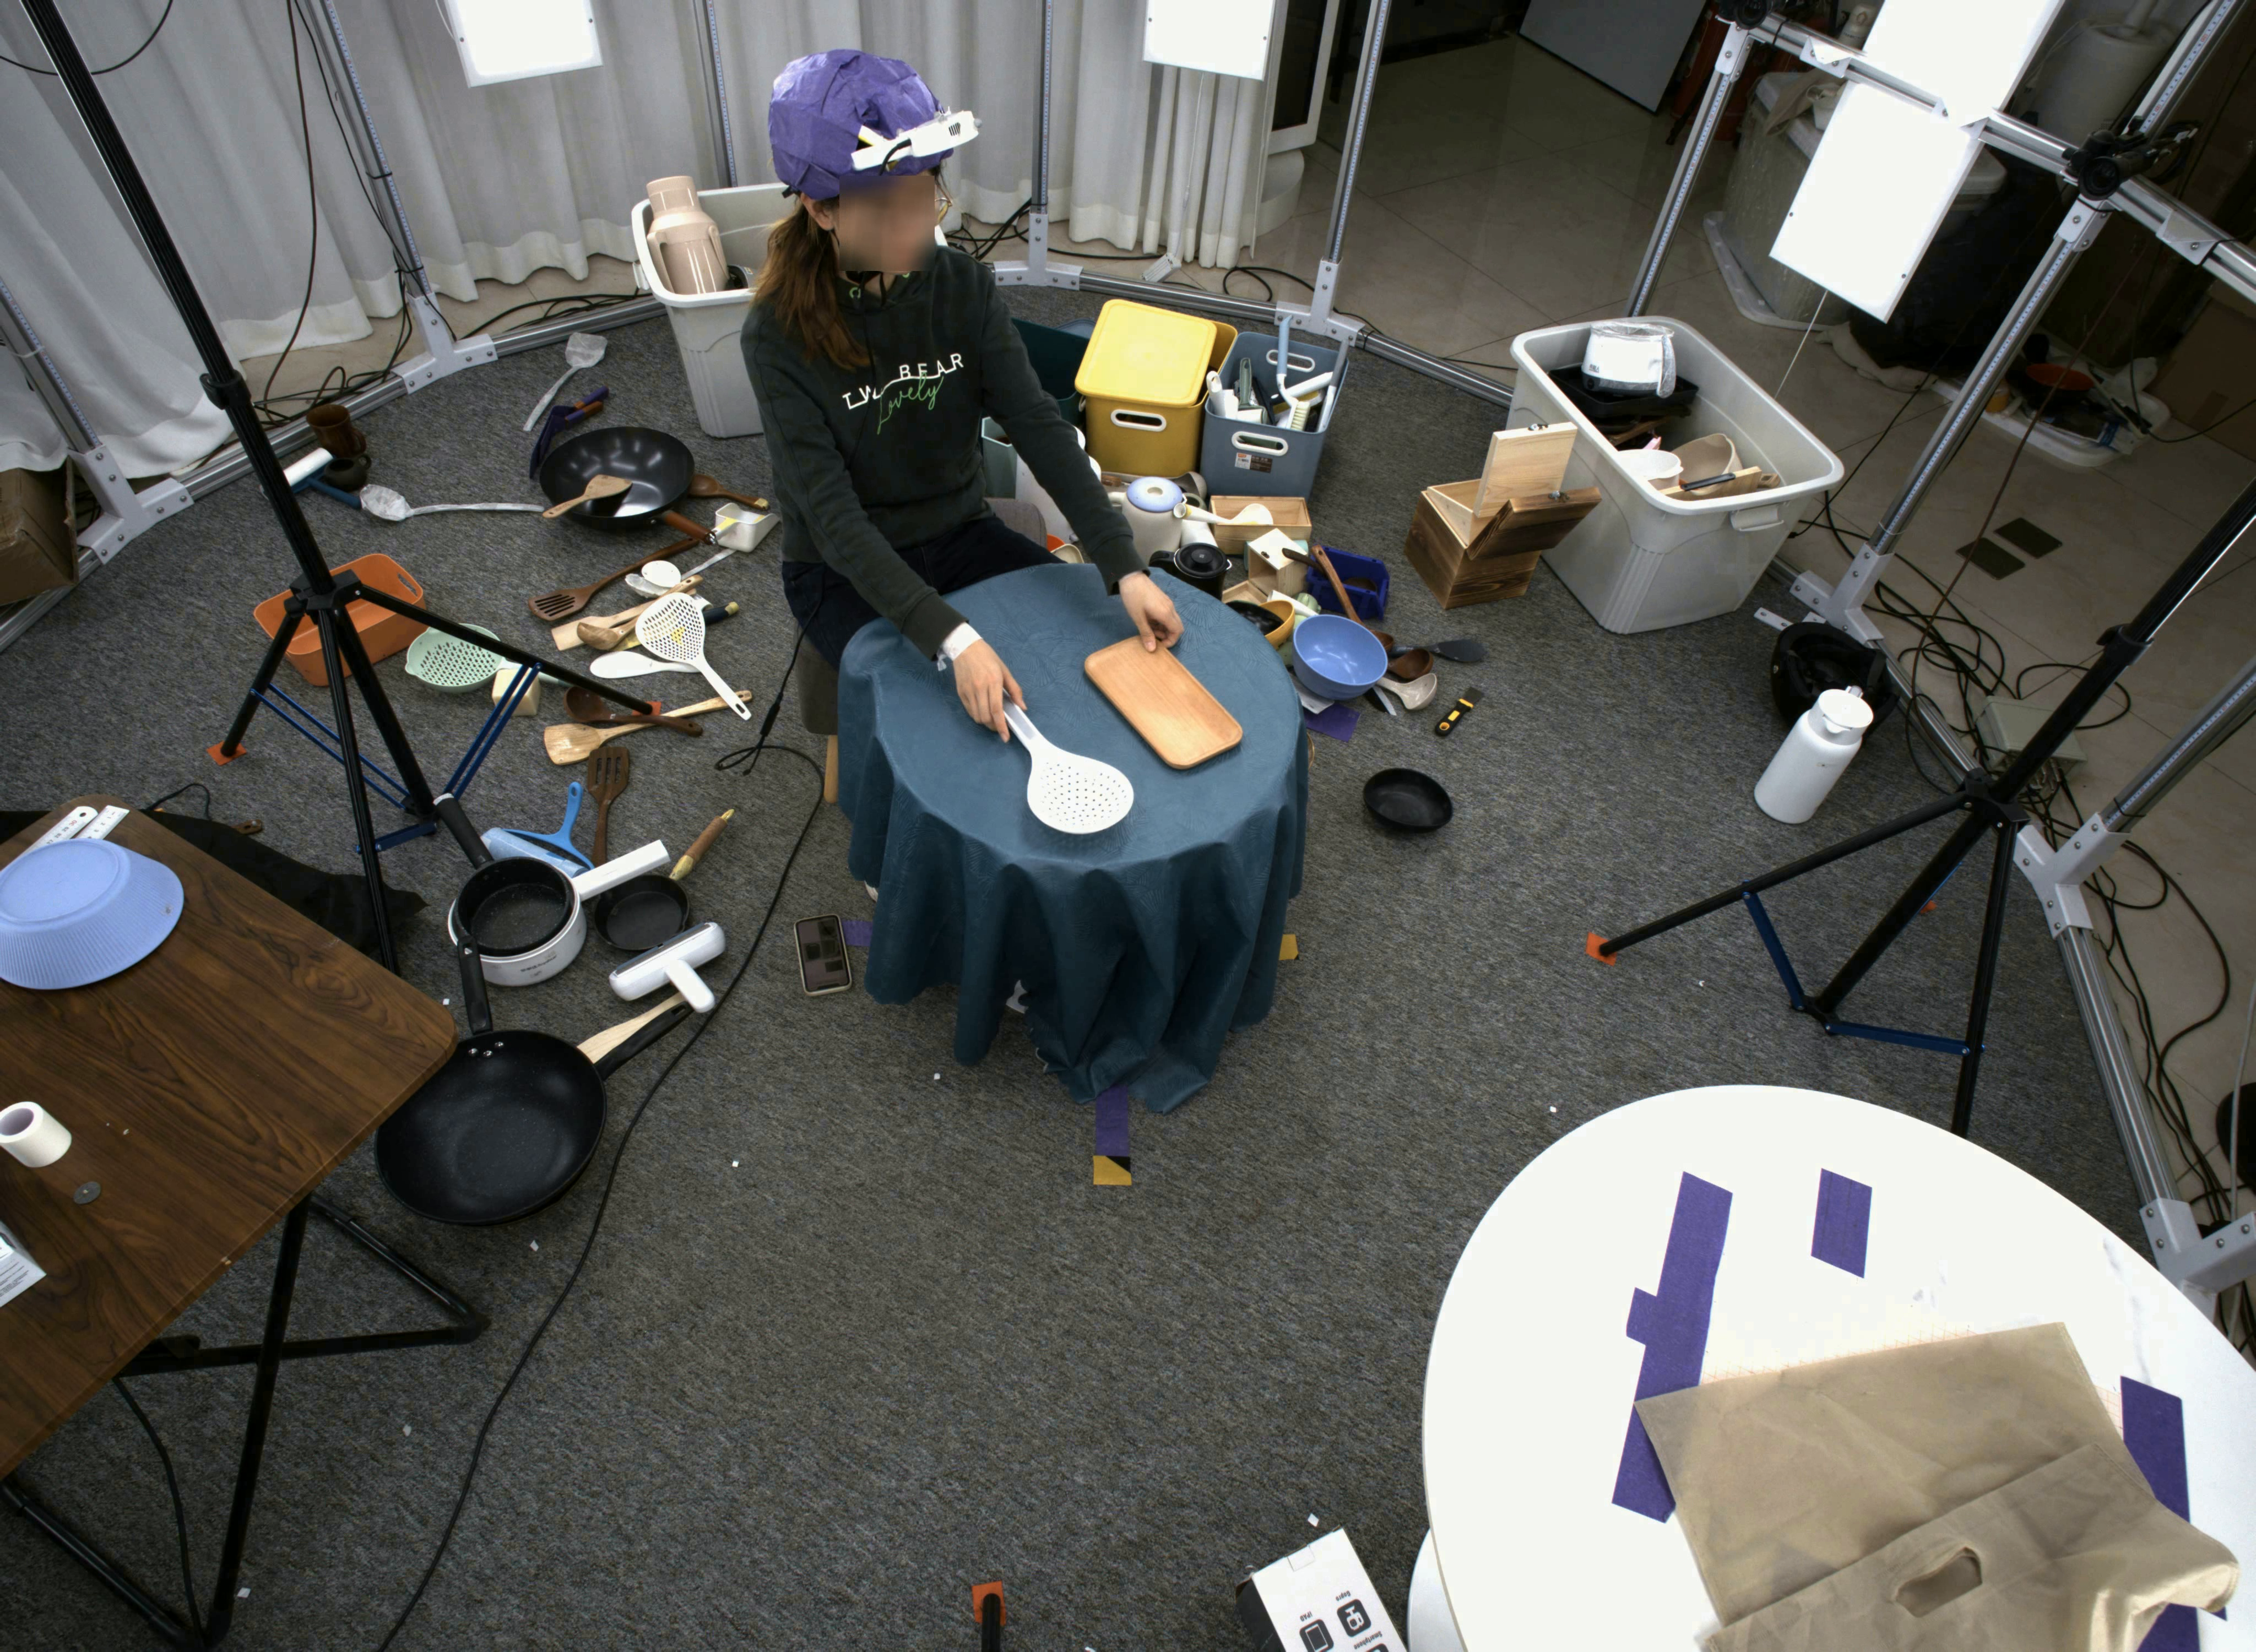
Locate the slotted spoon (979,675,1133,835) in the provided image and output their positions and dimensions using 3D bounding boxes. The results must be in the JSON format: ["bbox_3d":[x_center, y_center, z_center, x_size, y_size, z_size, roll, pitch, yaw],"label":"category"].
[{"bbox_3d":[-0.116,-0.101,1.735,0.136,0.044,0.357,-20,52,-23],"label":"slotted spoon"}]

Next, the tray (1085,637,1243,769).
[{"bbox_3d":[0.048,-0.178,1.832,0.131,0.022,0.256,-23,53,-24],"label":"tray"}]
